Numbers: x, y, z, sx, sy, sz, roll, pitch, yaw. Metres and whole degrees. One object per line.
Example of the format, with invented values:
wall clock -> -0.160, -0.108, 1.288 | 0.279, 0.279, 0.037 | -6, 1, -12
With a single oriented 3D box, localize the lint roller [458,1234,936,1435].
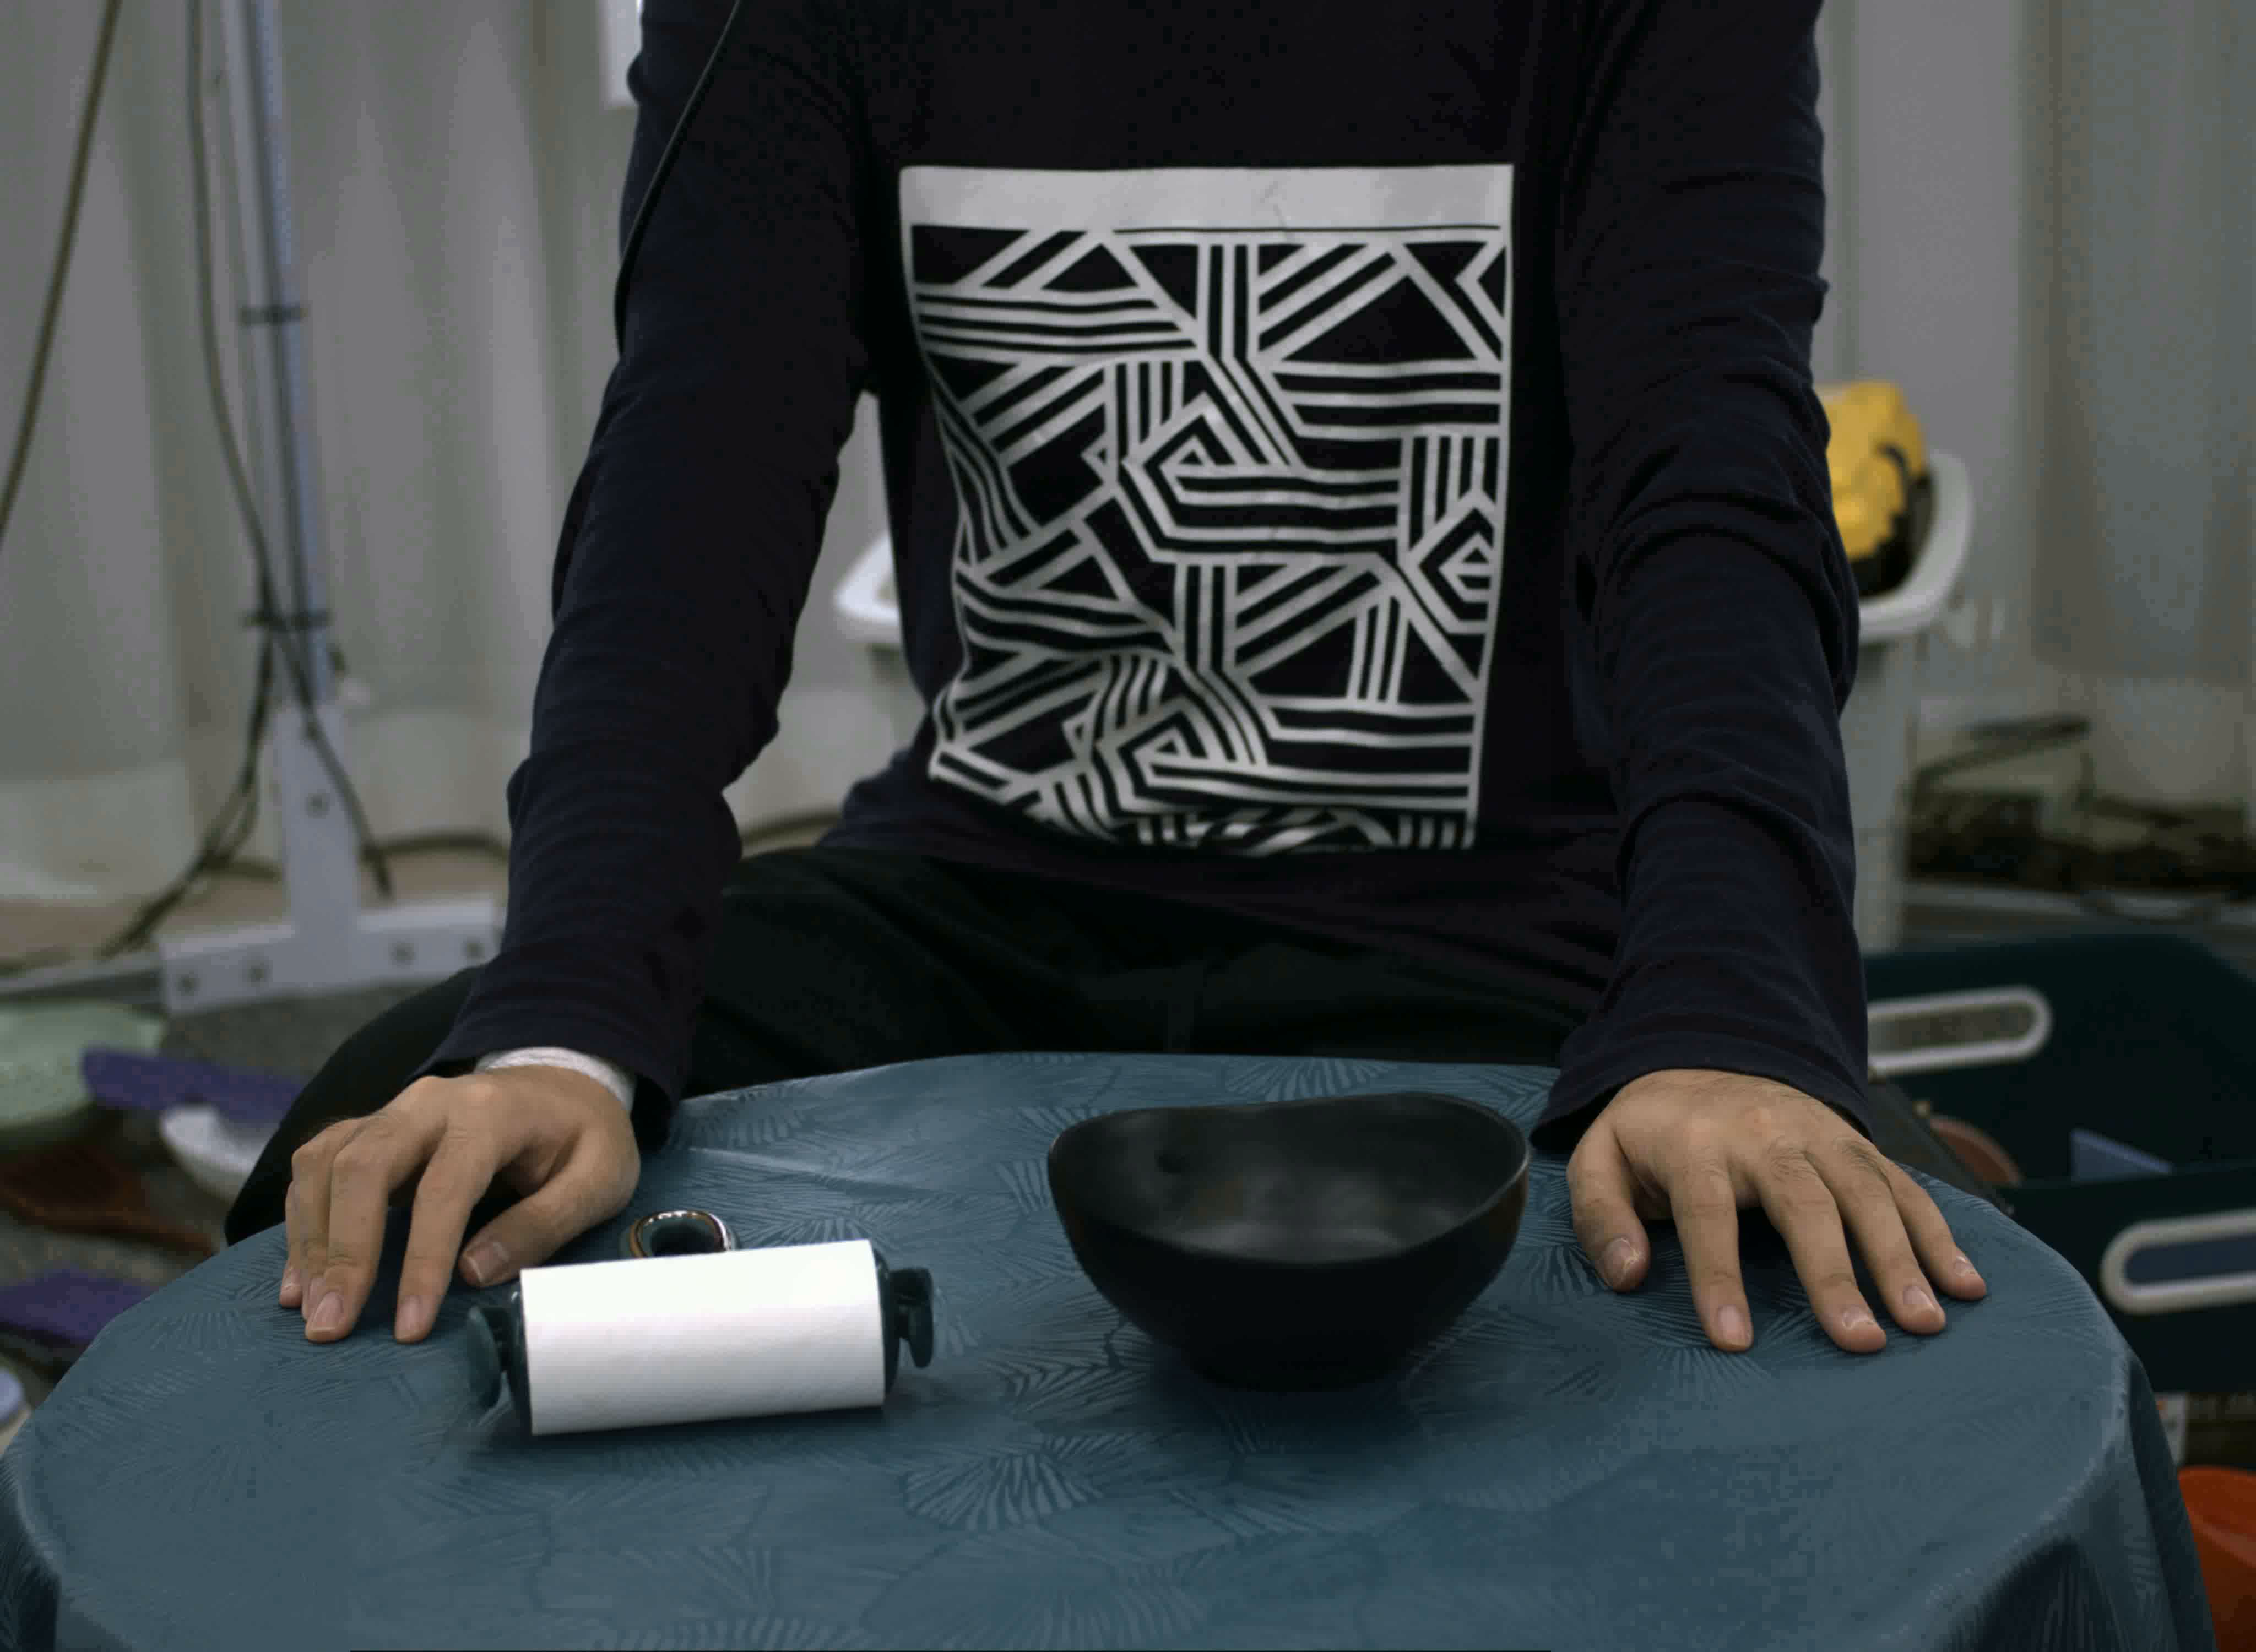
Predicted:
lint roller -> -0.130, 0.133, 1.603 | 0.134, 0.048, 0.181 | -5, 9, -7

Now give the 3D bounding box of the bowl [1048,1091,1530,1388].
bowl -> 0.047, 0.120, 1.561 | 0.137, 0.066, 0.171 | -4, 13, -4
